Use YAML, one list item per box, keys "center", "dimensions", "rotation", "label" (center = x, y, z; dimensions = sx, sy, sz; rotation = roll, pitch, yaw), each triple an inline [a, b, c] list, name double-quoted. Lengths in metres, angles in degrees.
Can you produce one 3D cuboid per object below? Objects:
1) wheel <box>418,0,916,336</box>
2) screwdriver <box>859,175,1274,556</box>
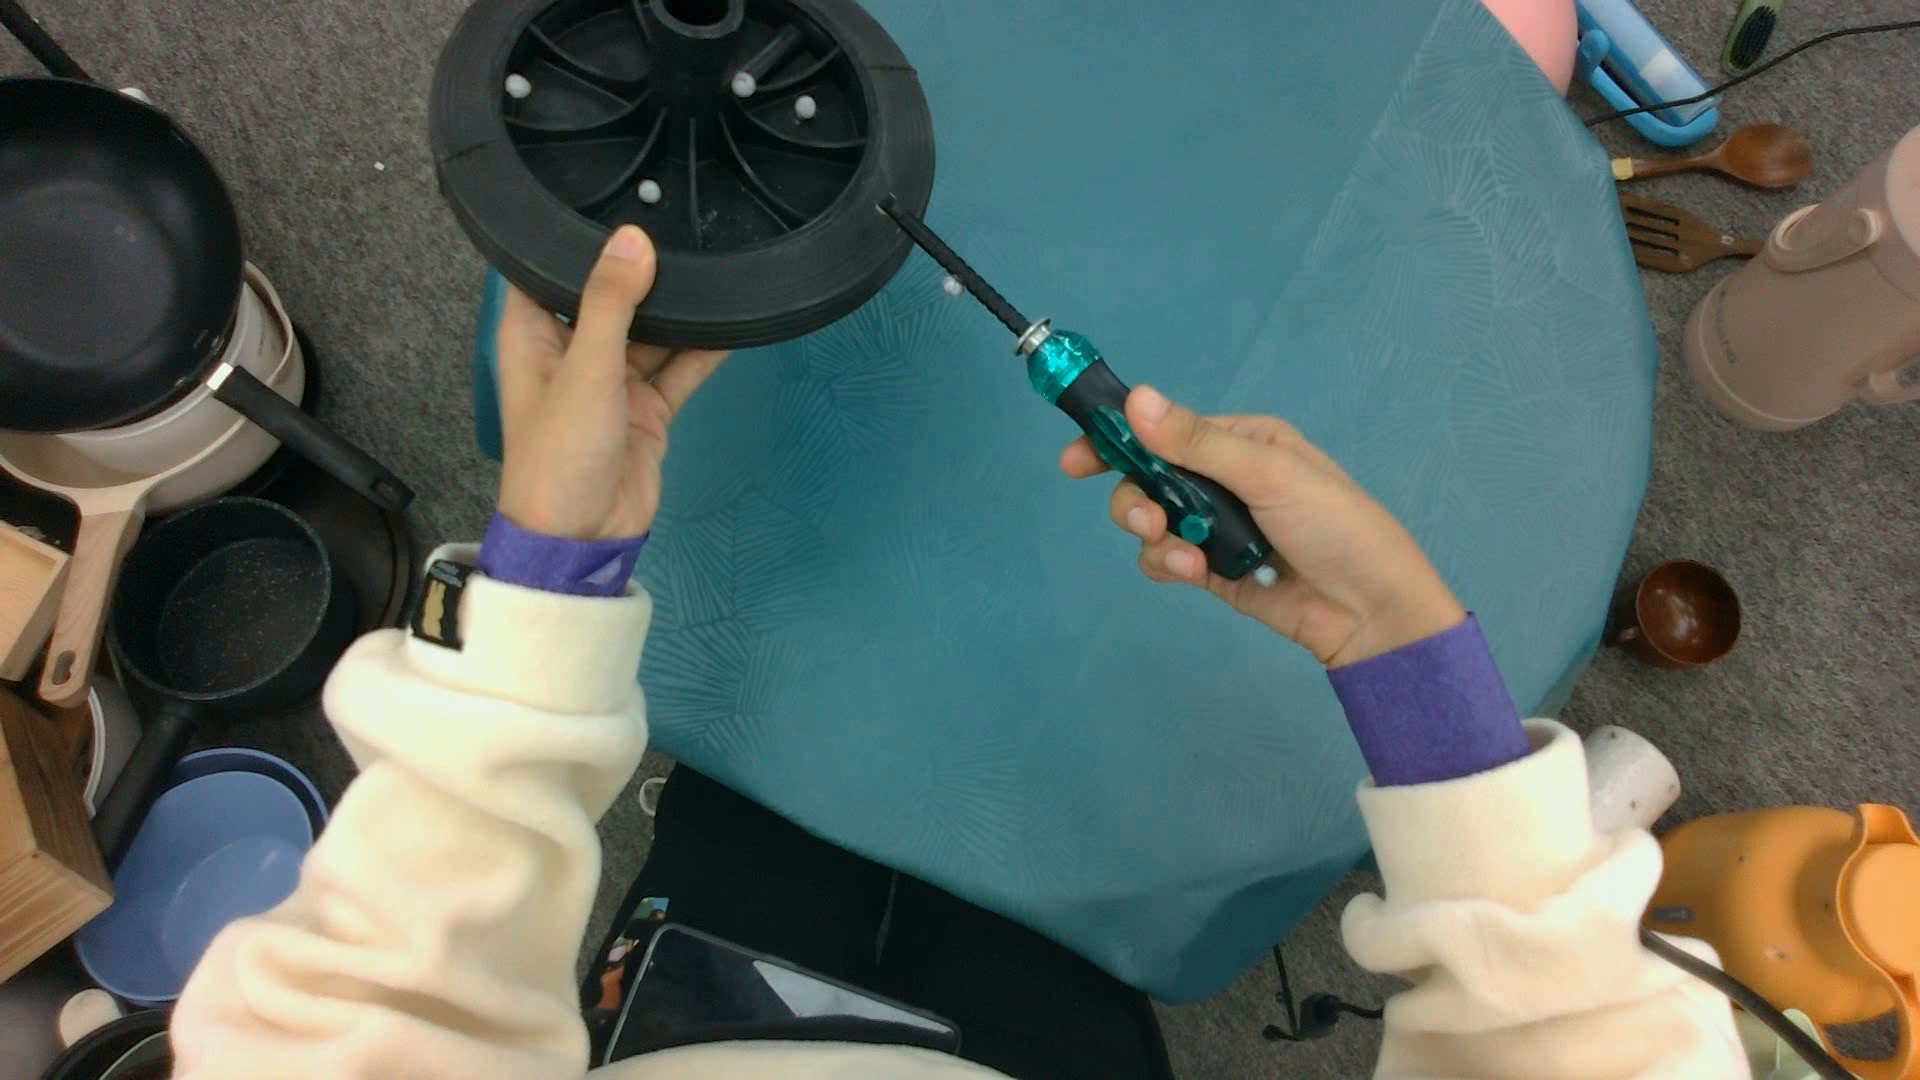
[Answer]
- center: [-0.105, -0.171, 0.515]
  dimensions: [0.187, 0.079, 0.190]
  rotation: [14, 59, -7]
  label: "wheel"
- center: [0.033, -0.065, 0.486]
  dimensions: [0.190, 0.033, 0.034]
  rotation: [43, 76, 6]
  label: "screwdriver"
